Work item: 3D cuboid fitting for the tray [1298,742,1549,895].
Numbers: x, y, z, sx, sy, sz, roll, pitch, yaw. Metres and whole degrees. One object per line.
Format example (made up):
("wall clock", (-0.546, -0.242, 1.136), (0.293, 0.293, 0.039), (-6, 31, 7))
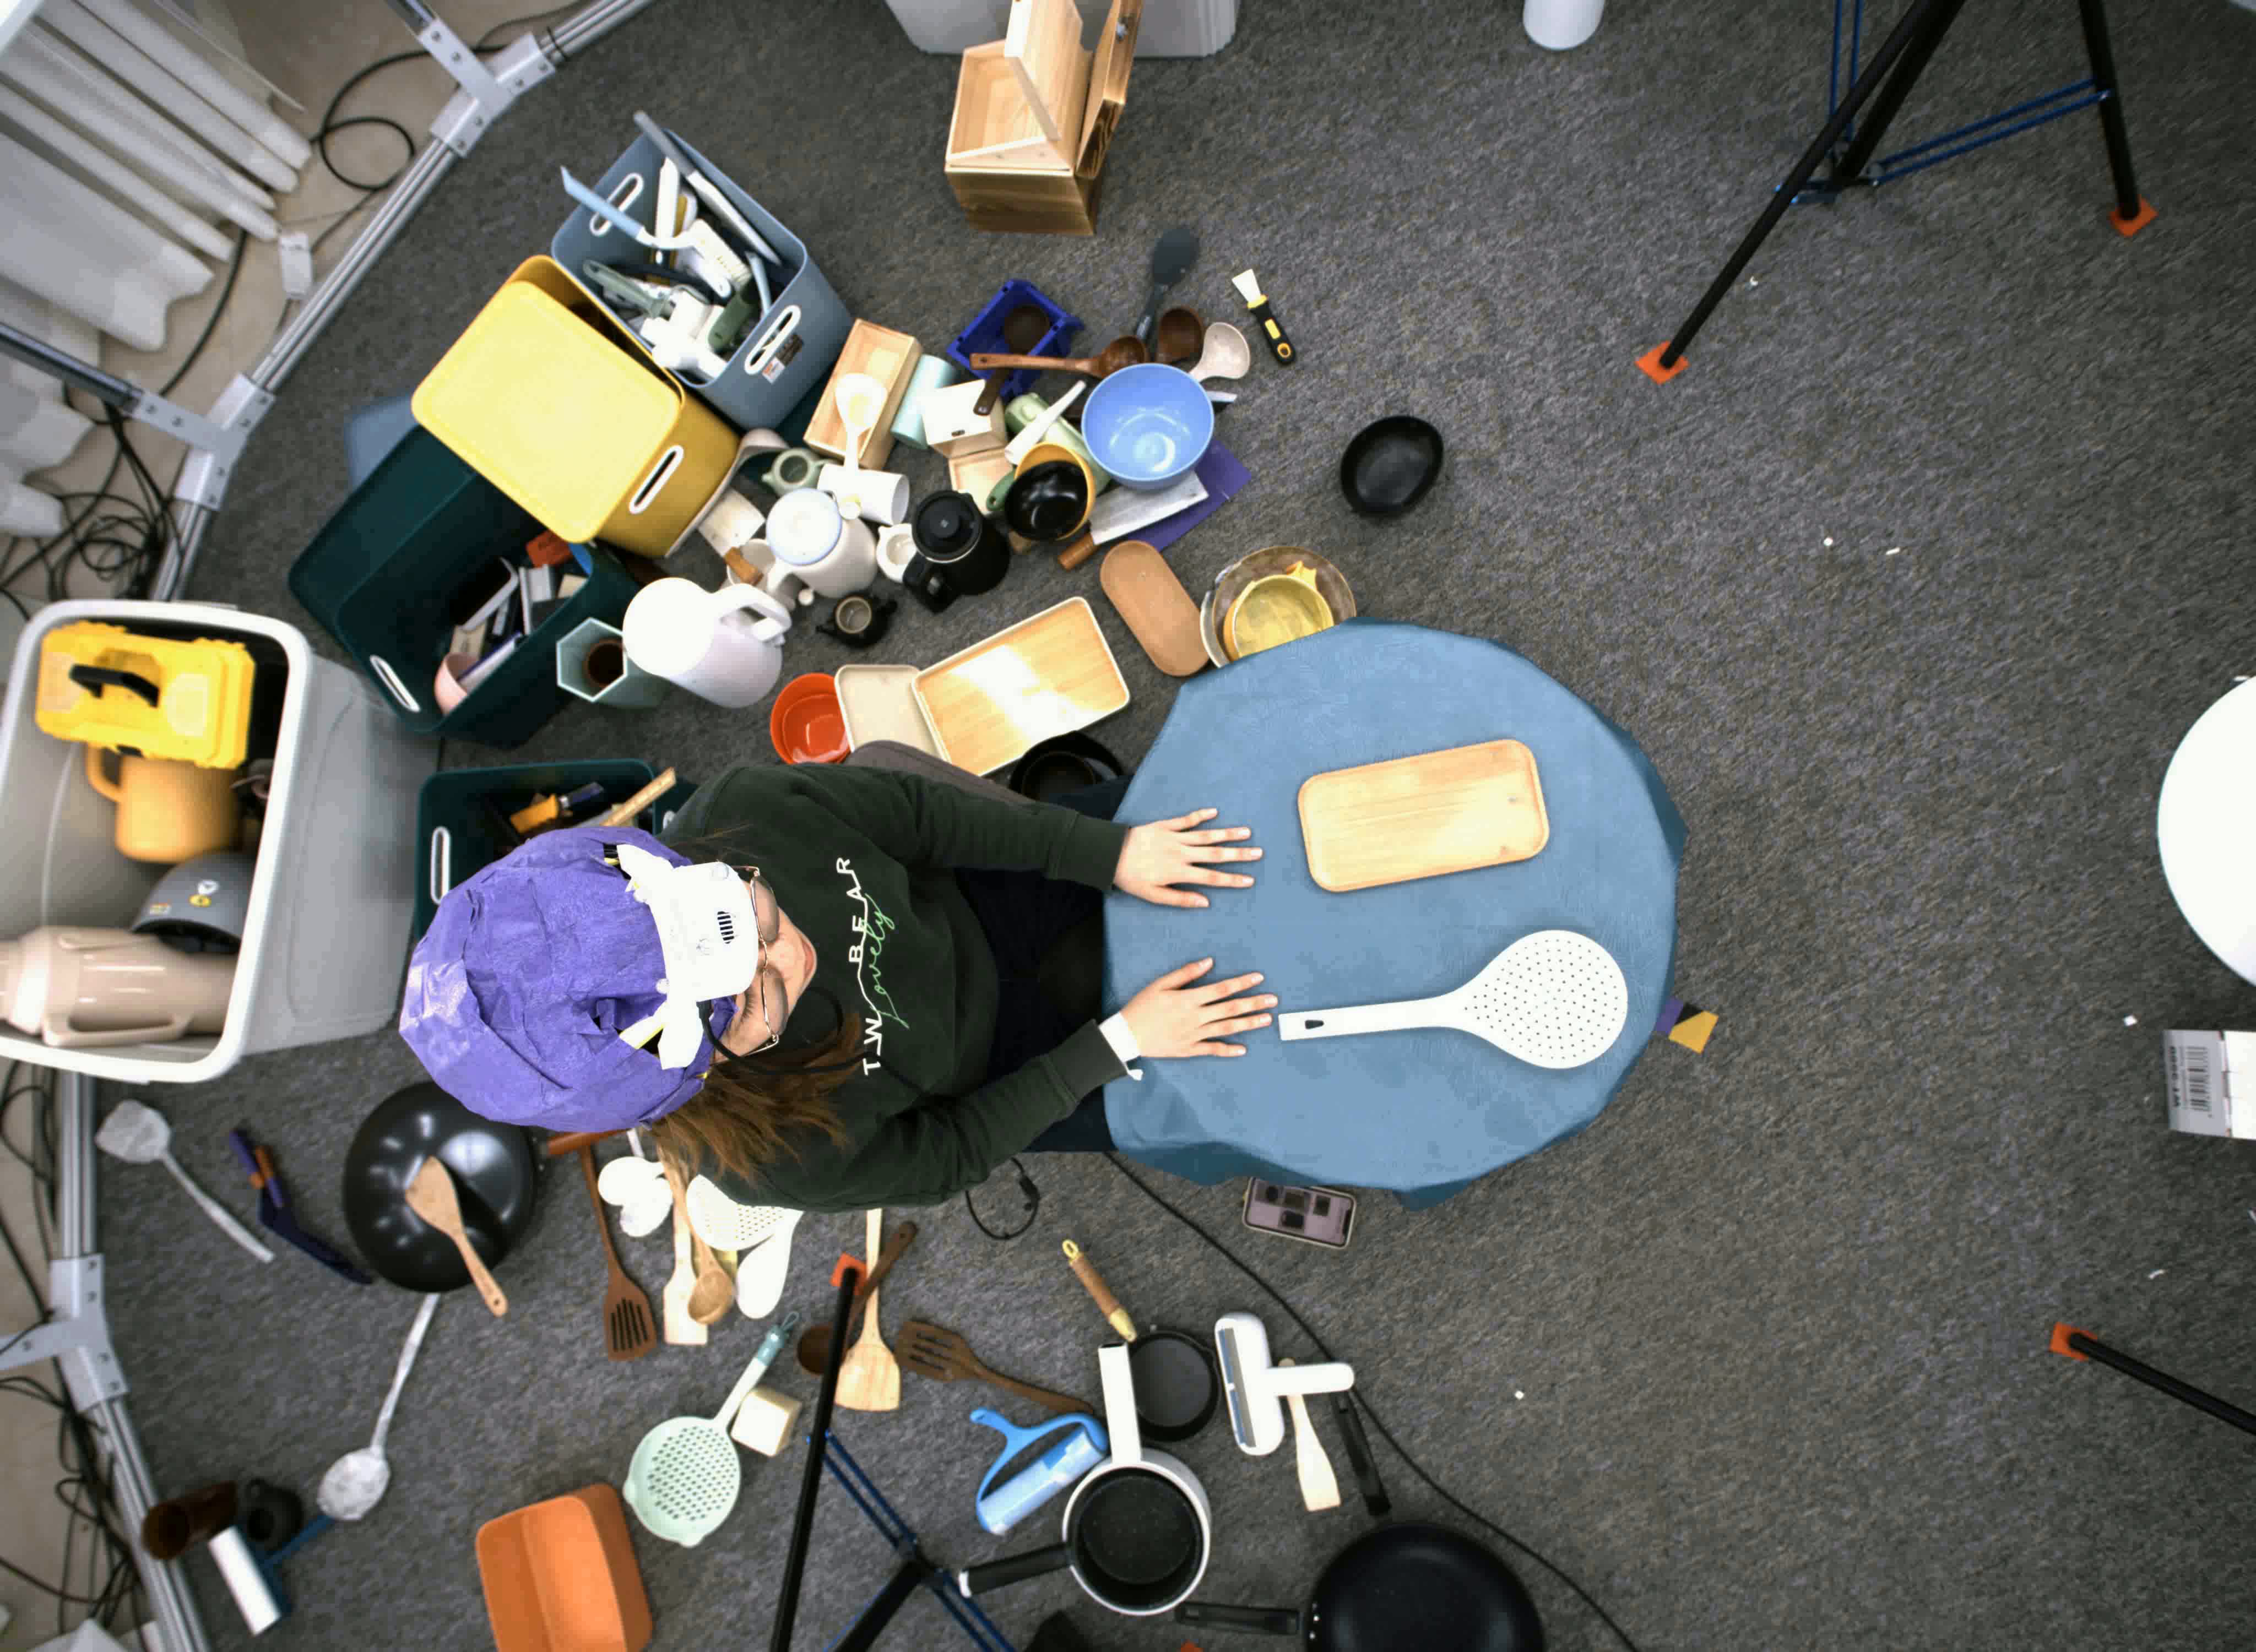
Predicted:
("tray", (0.310, -0.008, 1.454), (0.252, 0.023, 0.129), (-10, 82, 10))

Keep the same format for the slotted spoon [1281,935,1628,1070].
("slotted spoon", (0.331, 0.190, 1.422), (0.351, 0.046, 0.135), (-7, 82, 11))
